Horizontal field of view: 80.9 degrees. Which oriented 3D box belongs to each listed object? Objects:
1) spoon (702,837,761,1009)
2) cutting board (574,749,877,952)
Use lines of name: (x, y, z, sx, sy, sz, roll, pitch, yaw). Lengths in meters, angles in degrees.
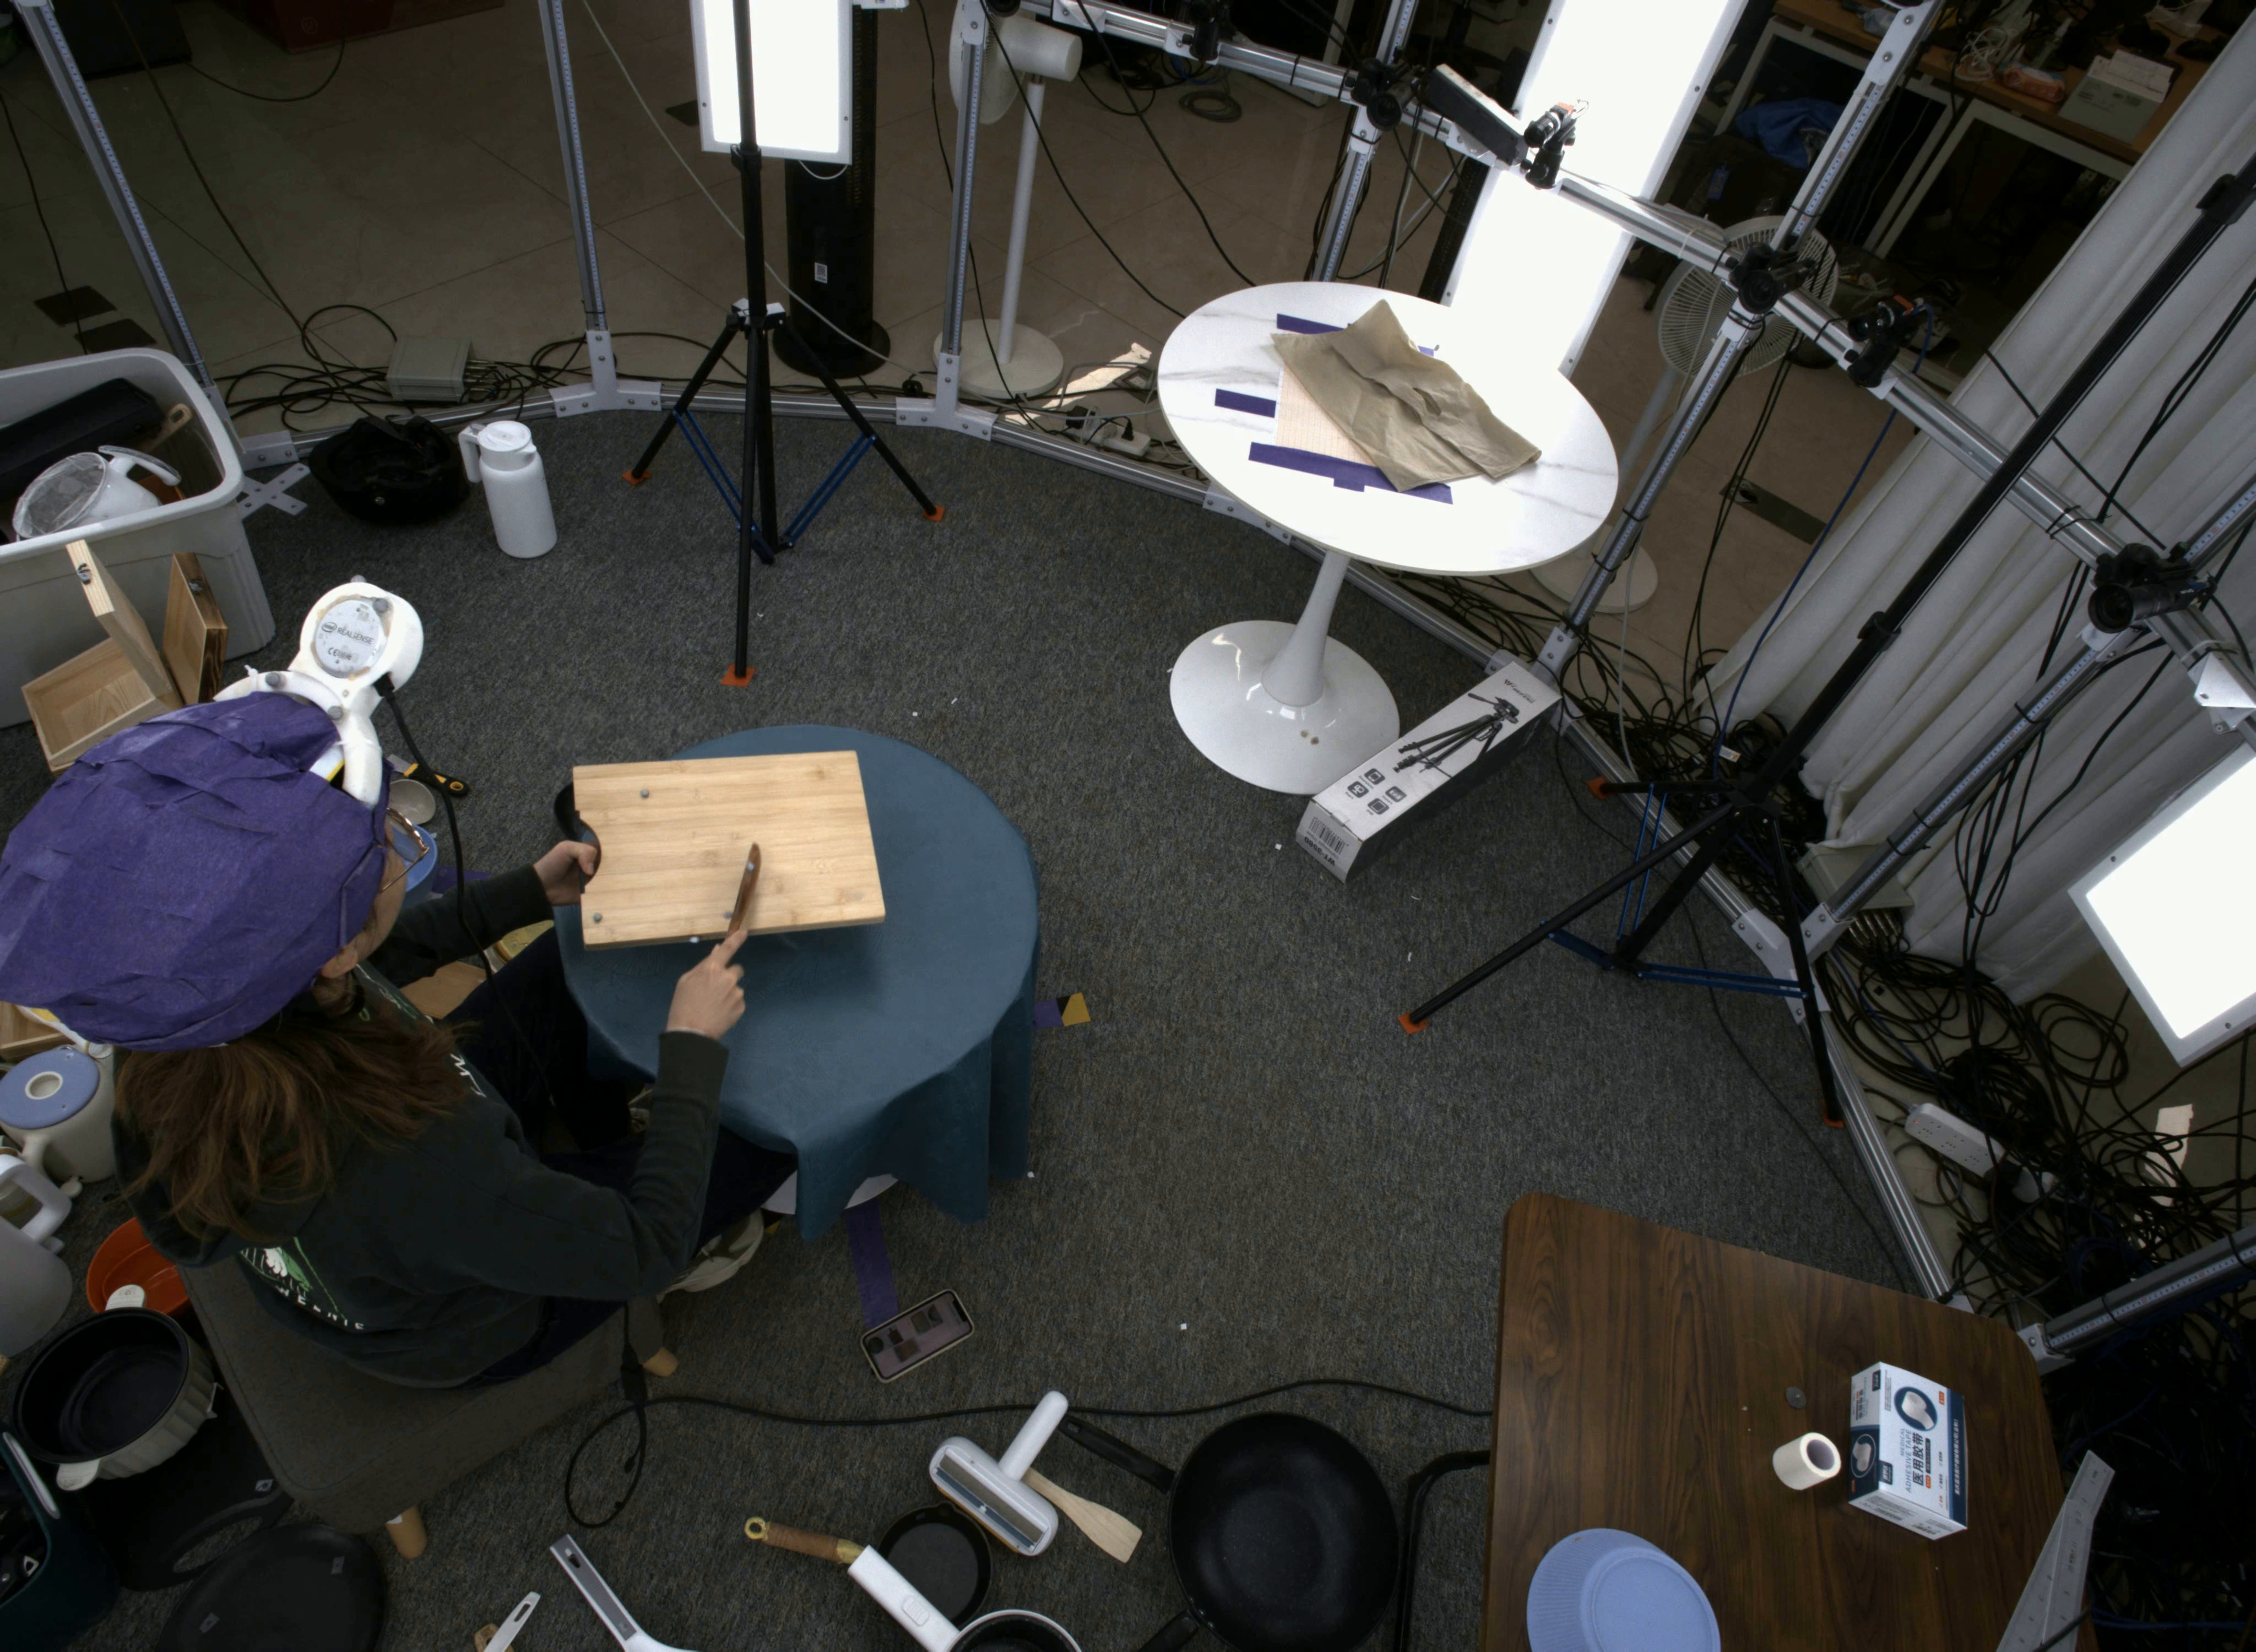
spoon: (-0.440, 0.105, 1.444, 0.017, 0.076, 0.212, 17, 52, -14)
cutting board: (-0.484, 0.021, 1.538, 0.351, 0.024, 0.246, -5, 62, -23)
